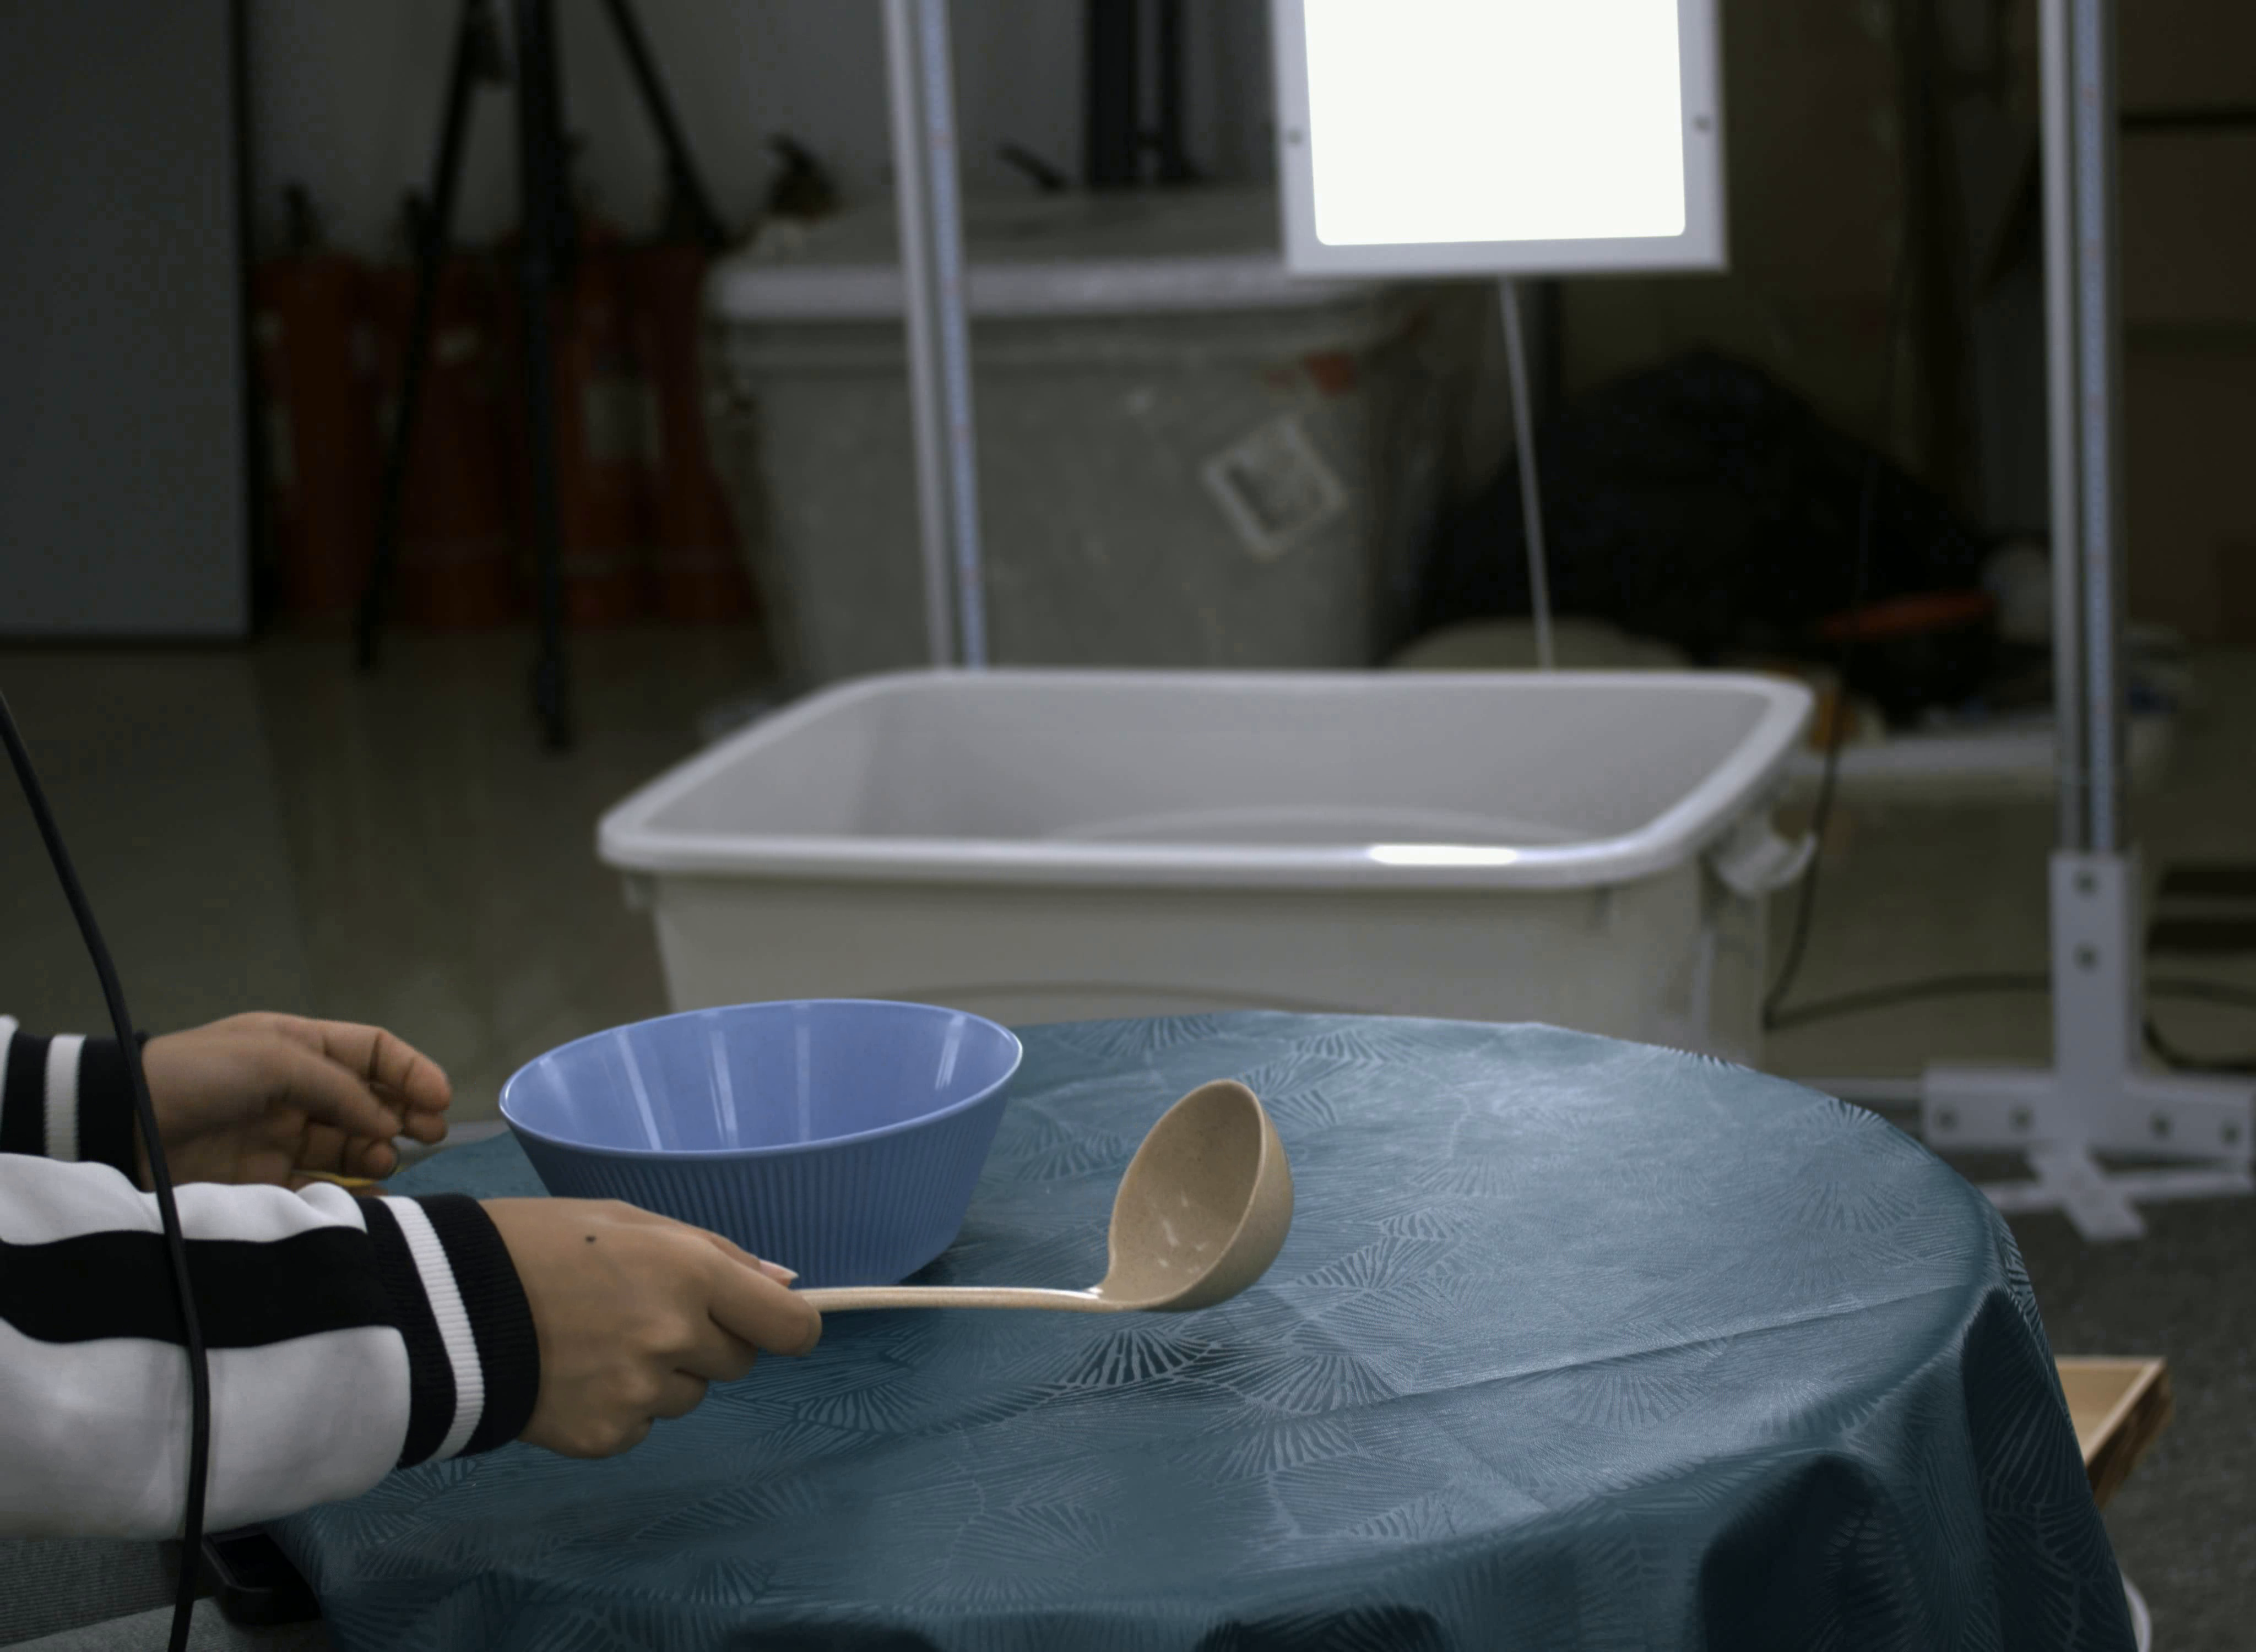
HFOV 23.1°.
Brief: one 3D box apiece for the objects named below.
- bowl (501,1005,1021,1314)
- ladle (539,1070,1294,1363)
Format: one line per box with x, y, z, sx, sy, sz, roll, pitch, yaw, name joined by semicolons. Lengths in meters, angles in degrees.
-0.120;0.114;1.846;0.175;0.070;0.176;-5;13;0;bowl
-0.063;0.116;1.664;0.248;0.073;0.073;-2;8;-32;ladle
